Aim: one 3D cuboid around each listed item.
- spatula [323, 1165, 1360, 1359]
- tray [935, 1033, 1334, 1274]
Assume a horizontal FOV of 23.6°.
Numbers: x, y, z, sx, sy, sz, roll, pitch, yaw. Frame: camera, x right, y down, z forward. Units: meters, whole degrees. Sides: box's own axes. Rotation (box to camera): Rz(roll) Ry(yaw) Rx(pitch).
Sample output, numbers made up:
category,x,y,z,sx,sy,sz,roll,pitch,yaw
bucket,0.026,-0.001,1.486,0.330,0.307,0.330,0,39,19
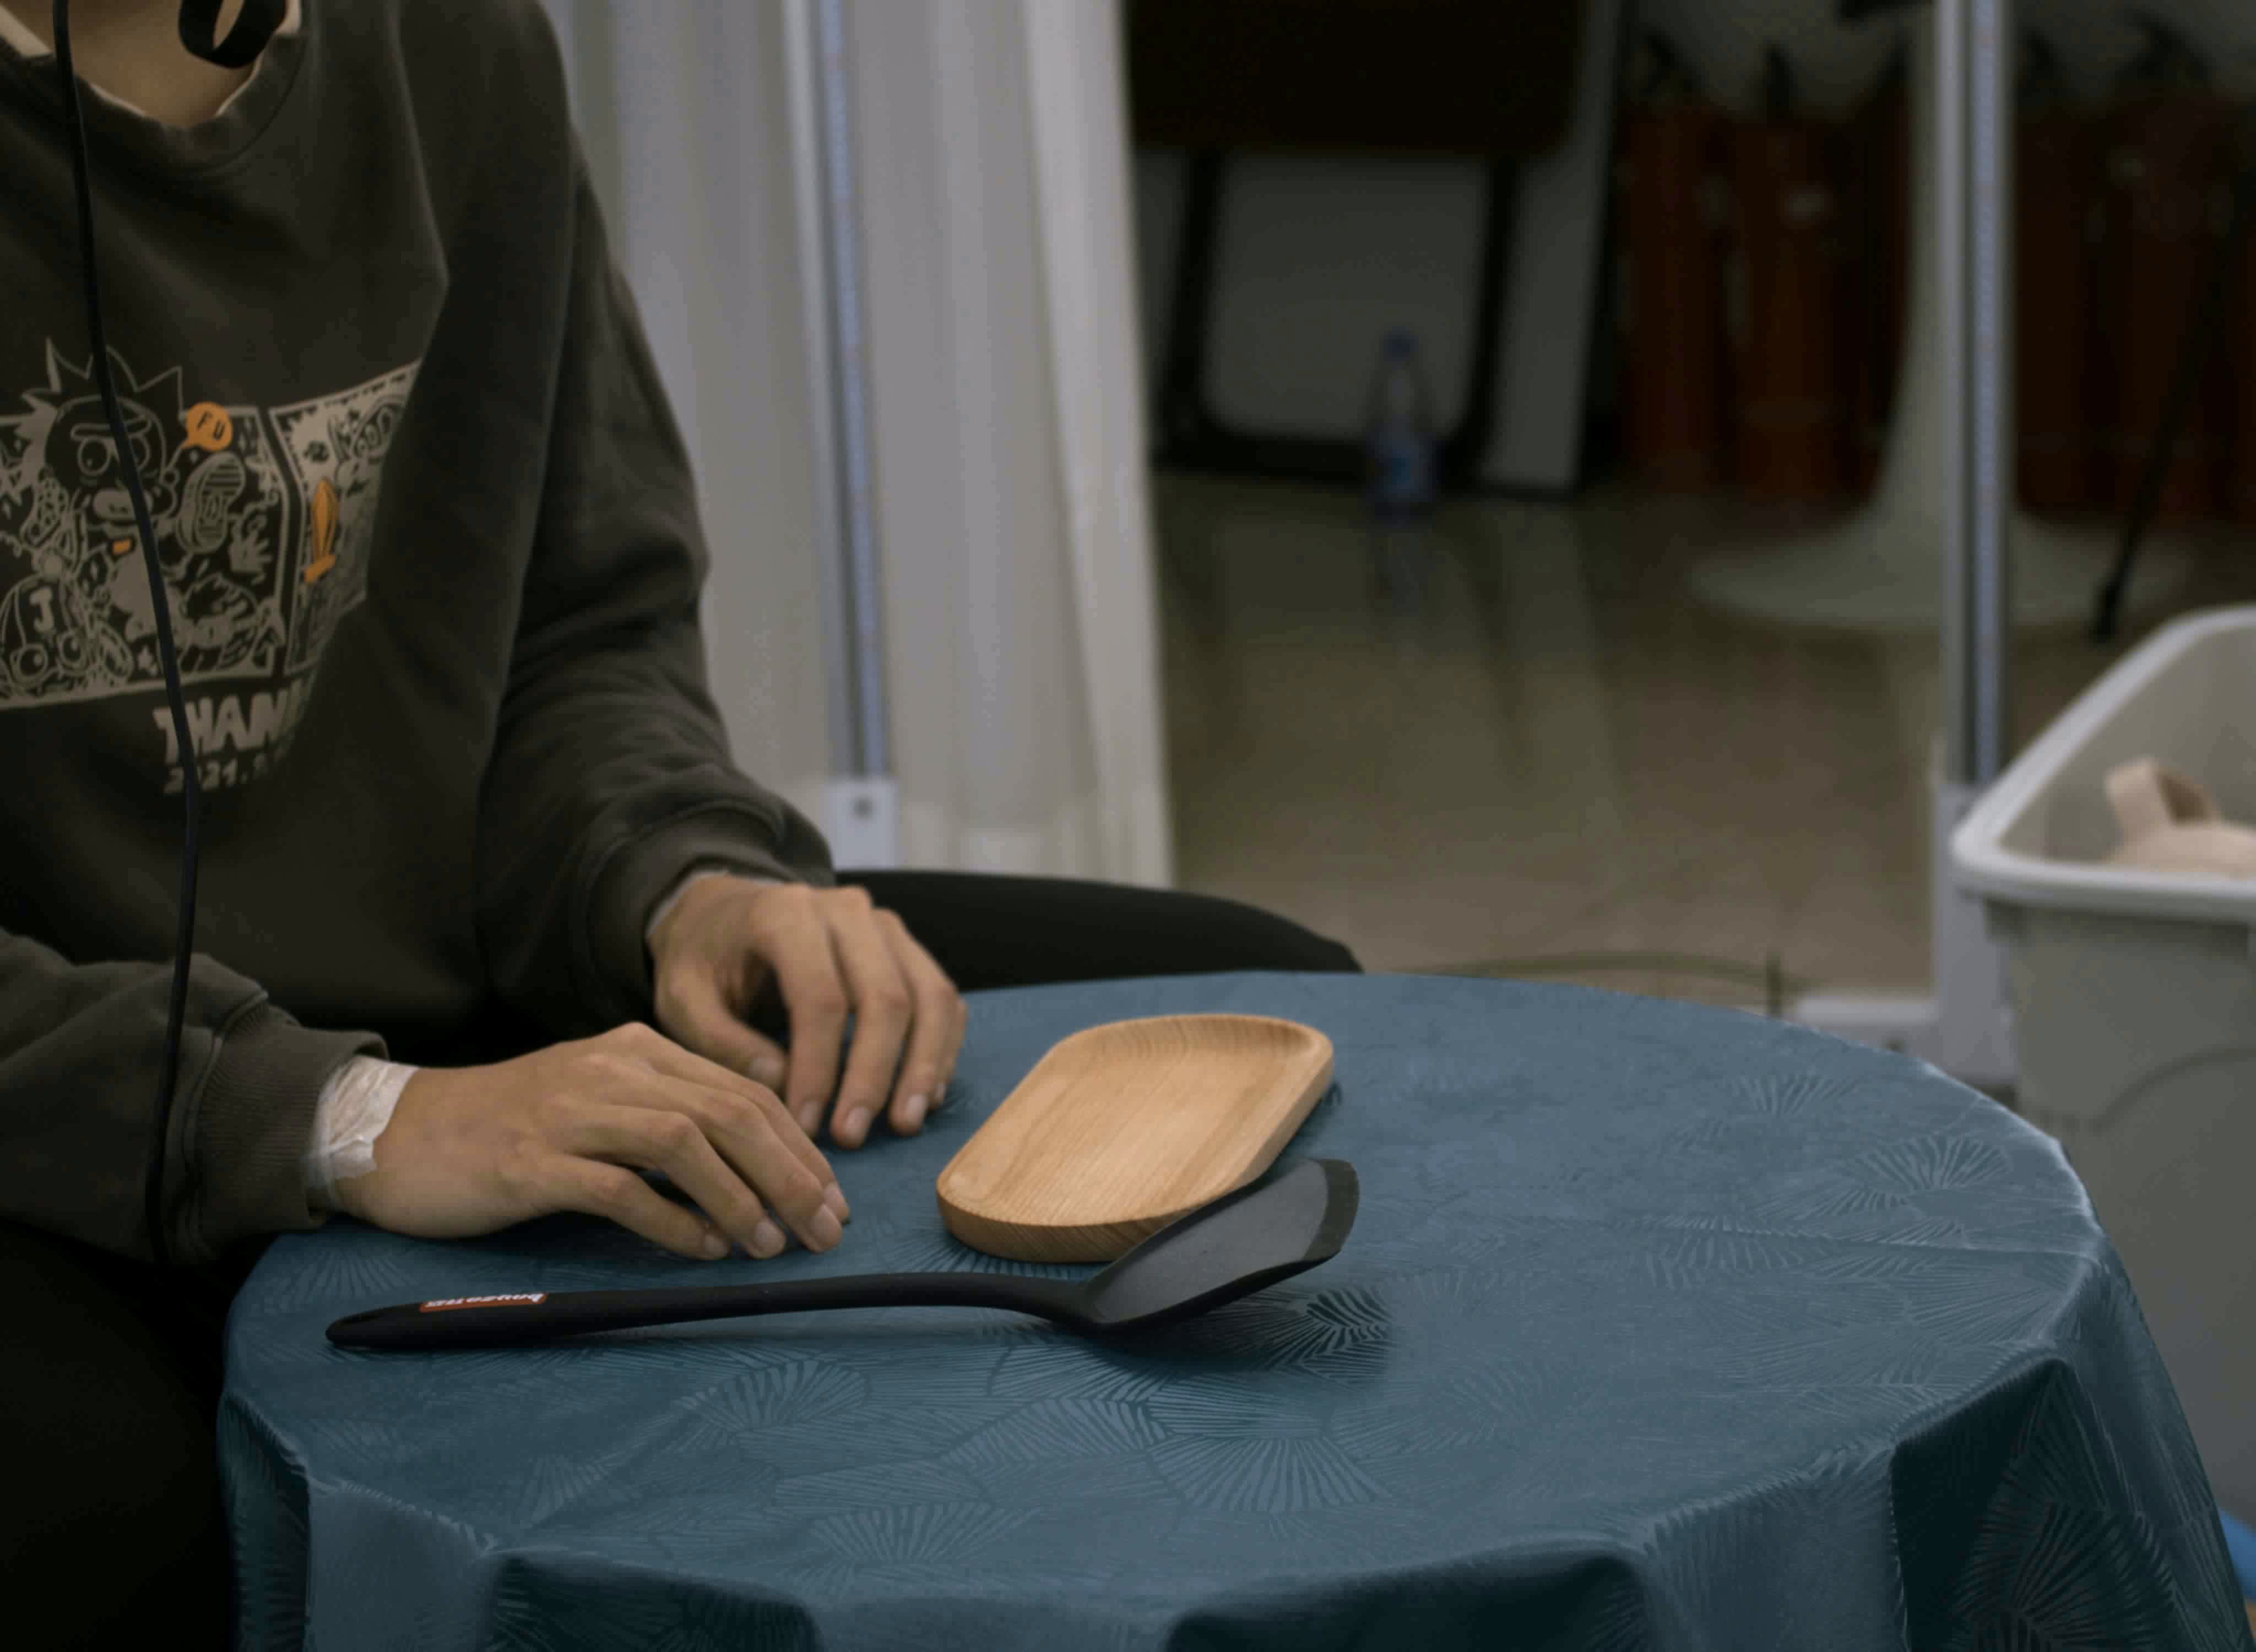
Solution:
category,x,y,z,sx,sy,sz,roll,pitch,yaw
spatula,-0.089,0.139,1.651,0.323,0.041,0.099,-2,12,7
tray,0.005,0.108,1.802,0.101,0.020,0.229,-1,15,16
